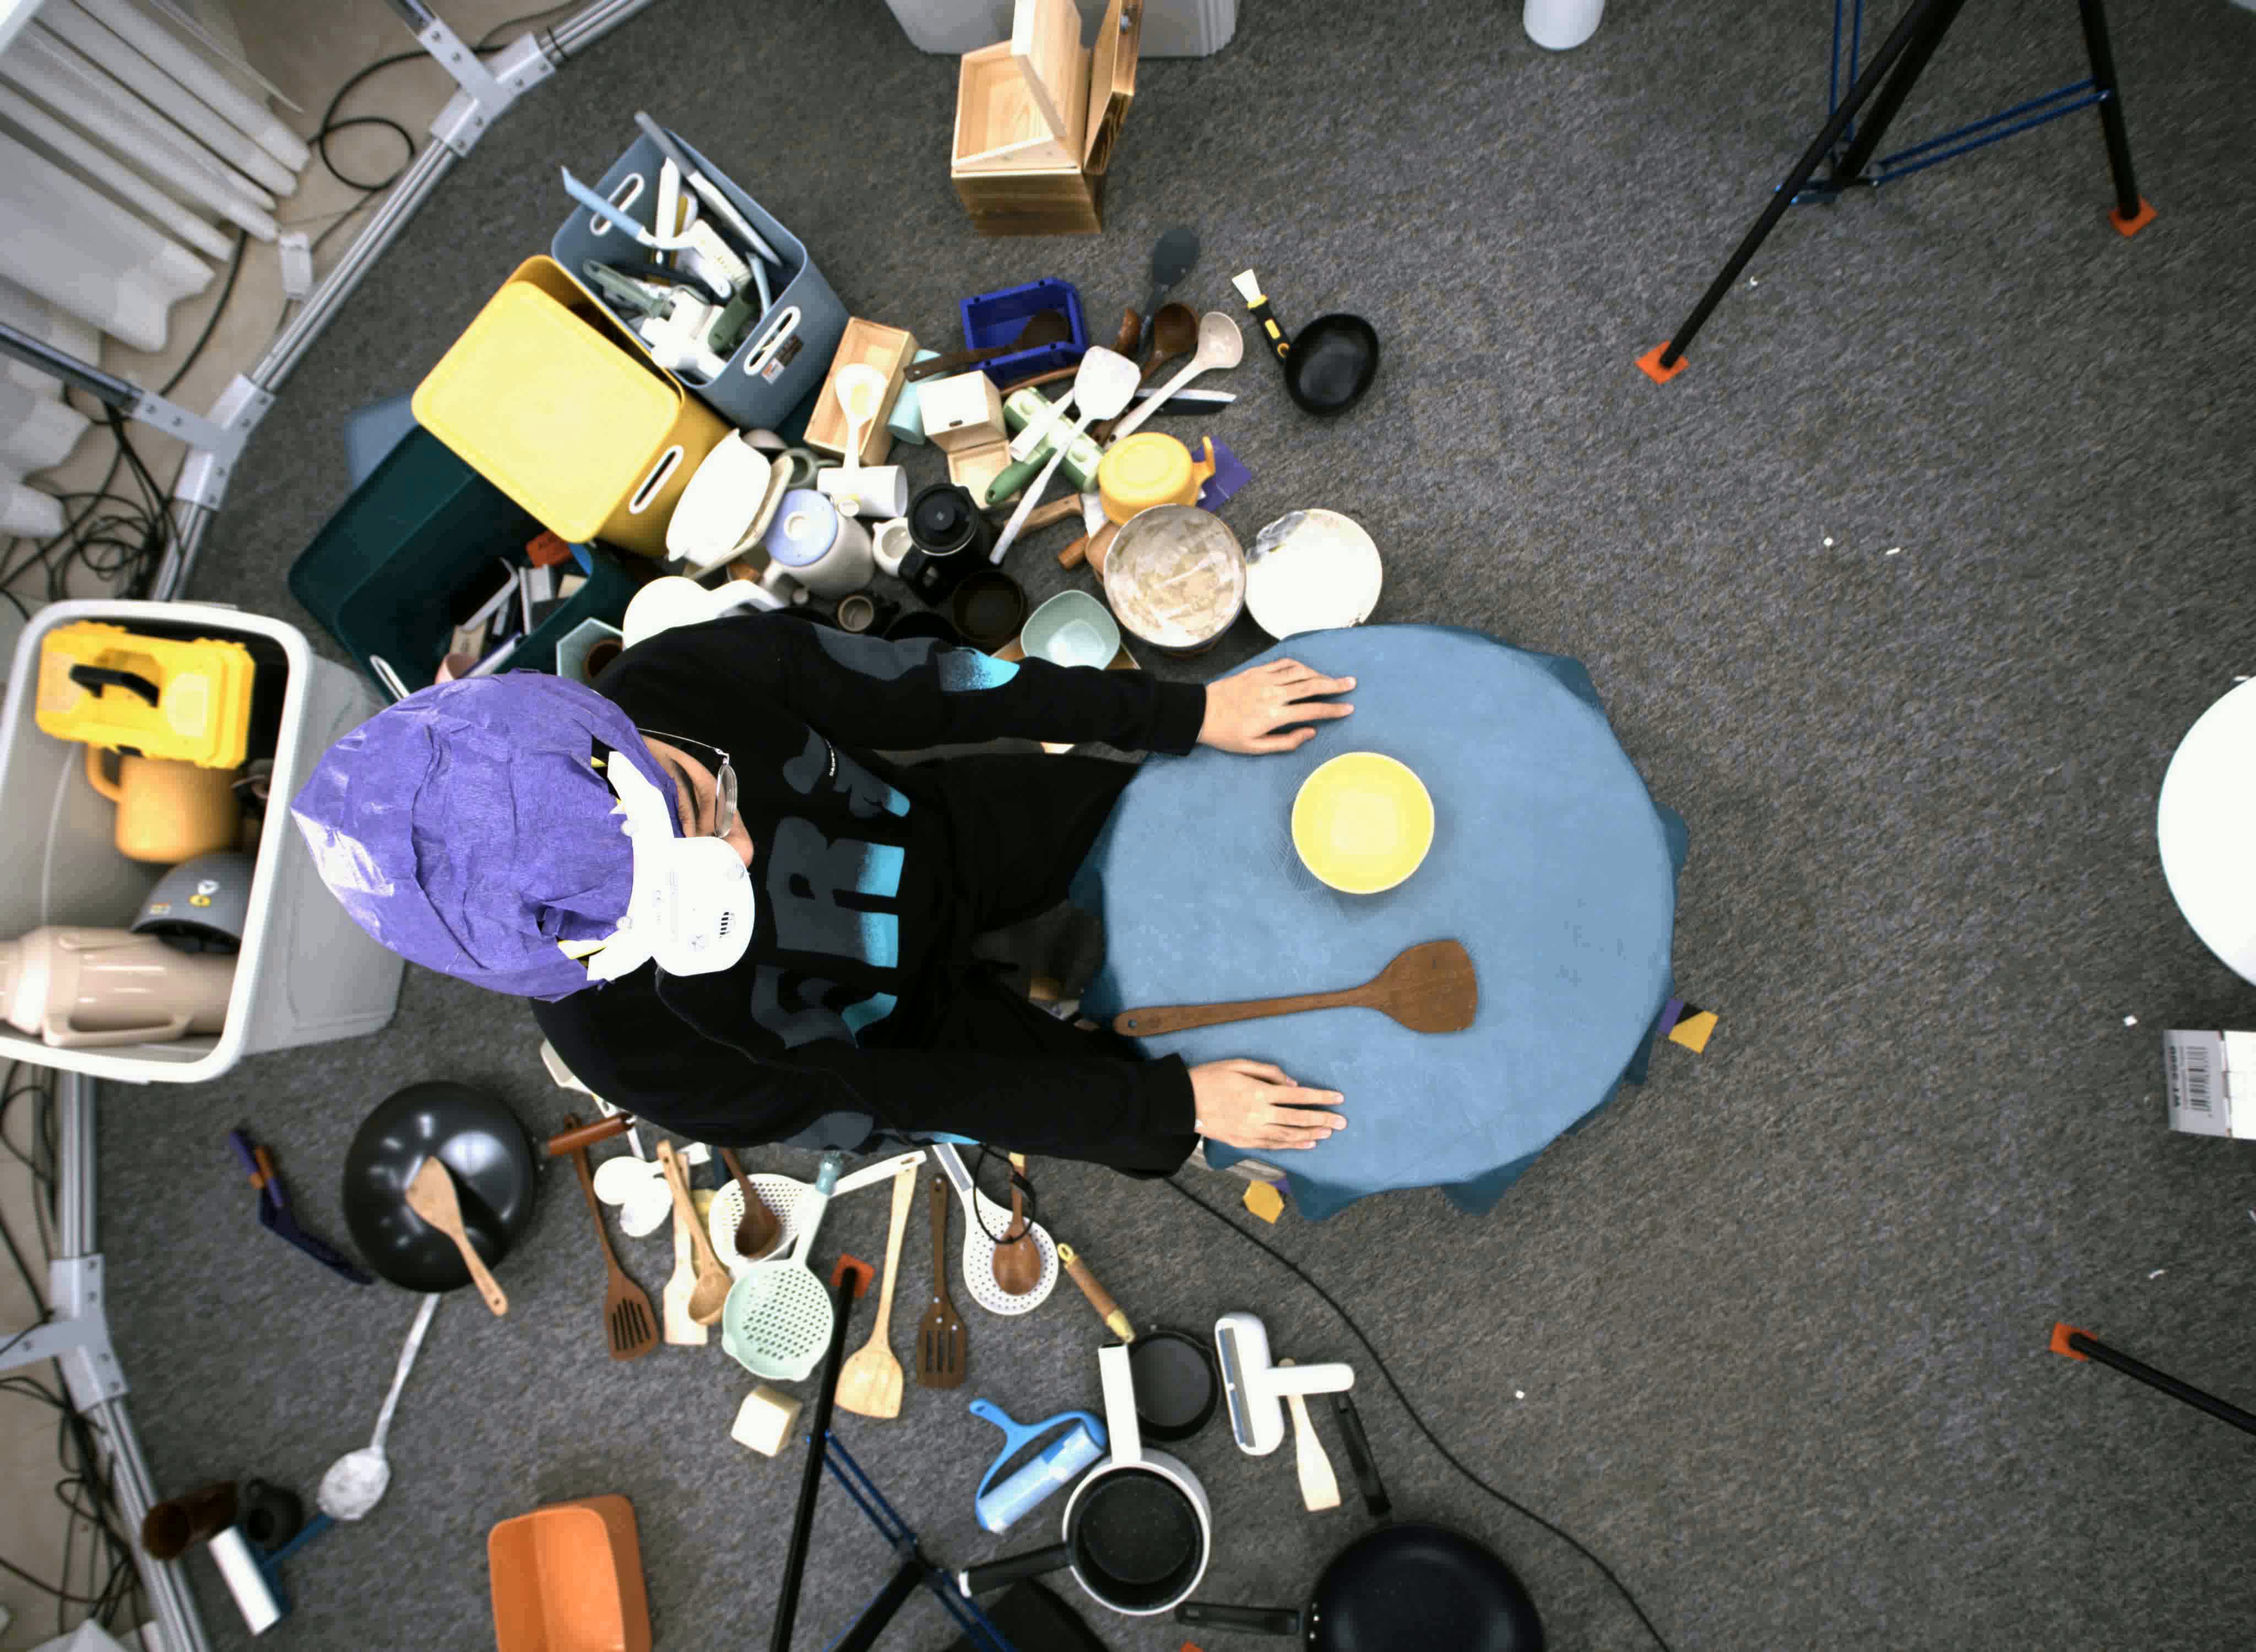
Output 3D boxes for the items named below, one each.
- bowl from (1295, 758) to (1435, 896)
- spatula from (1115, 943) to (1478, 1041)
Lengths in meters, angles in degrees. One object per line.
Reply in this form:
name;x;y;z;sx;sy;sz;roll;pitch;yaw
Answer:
bowl;0.248;0.003;1.445;0.146;0.060;0.144;-2;83;12
spatula;0.174;0.192;1.468;0.388;0.016;0.095;-8;84;10
